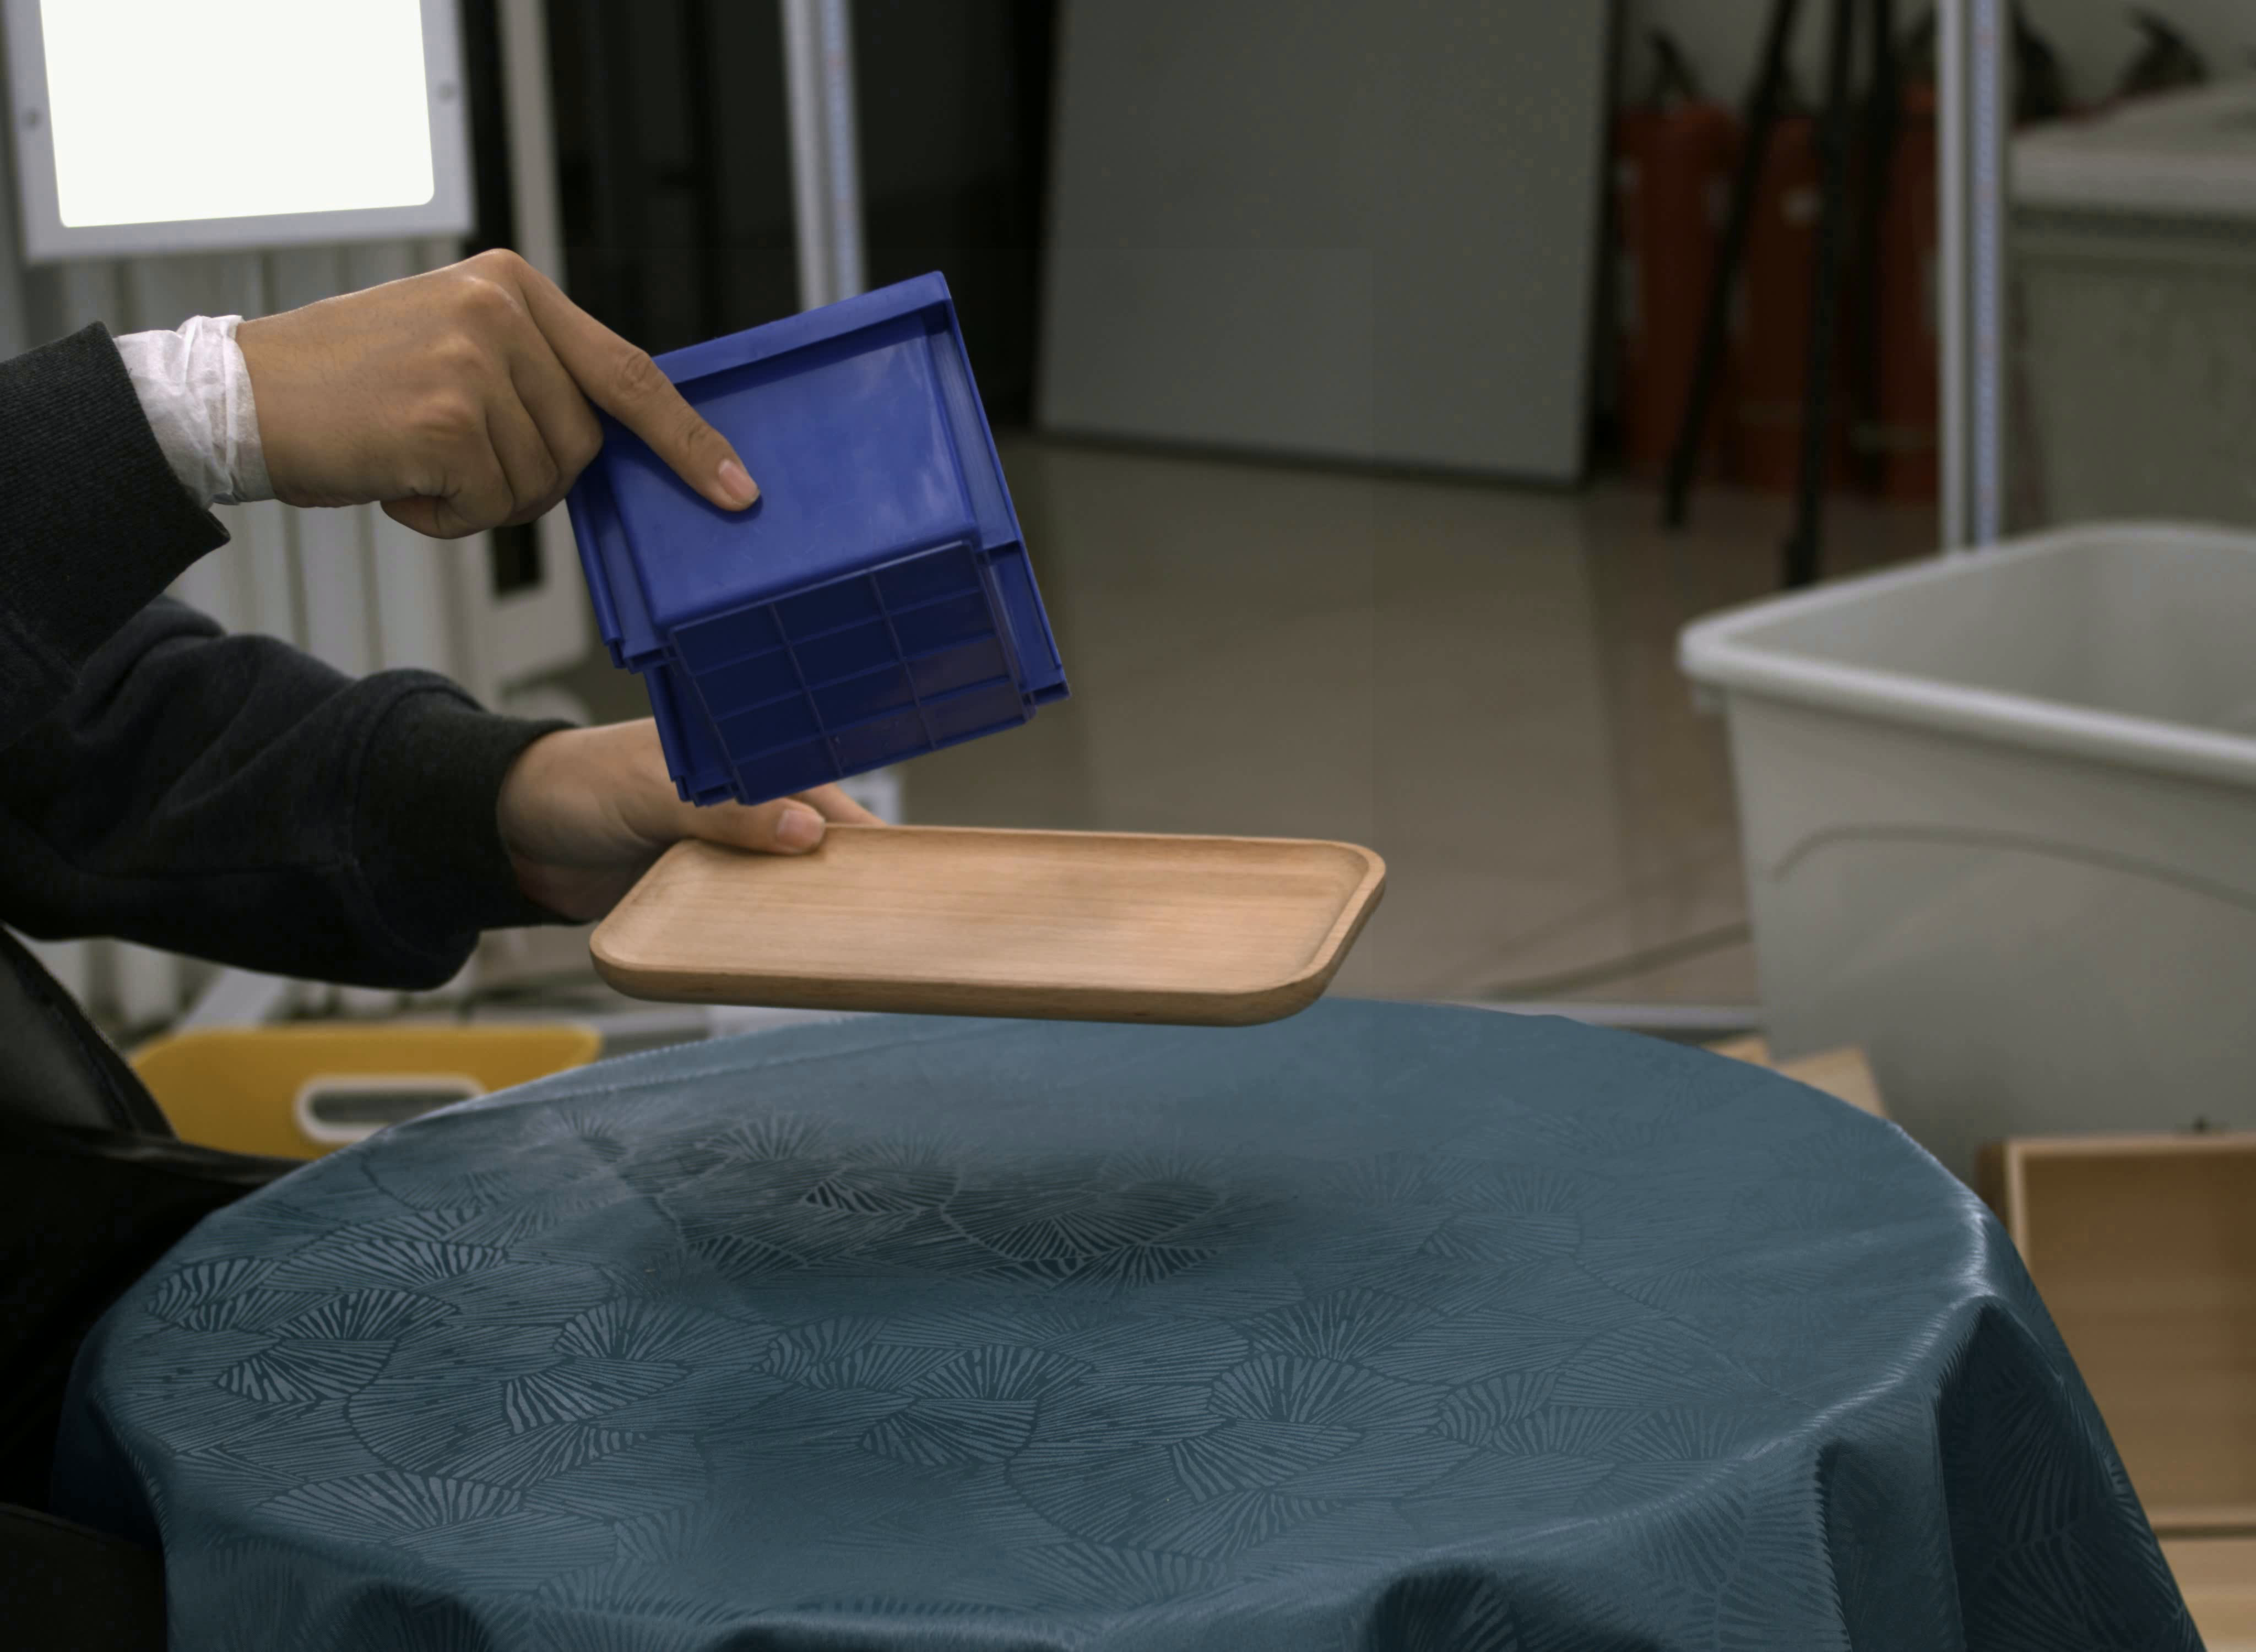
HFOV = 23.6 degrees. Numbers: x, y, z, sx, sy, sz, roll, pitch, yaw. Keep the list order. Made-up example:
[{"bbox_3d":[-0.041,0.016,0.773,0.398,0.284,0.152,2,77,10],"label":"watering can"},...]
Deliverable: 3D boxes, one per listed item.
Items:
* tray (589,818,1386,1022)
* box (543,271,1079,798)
[{"bbox_3d":[-0.045,0.030,1.750,0.250,0.023,0.129,1,19,19],"label":"tray"},{"bbox_3d":[-0.091,-0.077,1.617,0.123,0.083,0.178,-18,-19,3],"label":"box"}]
